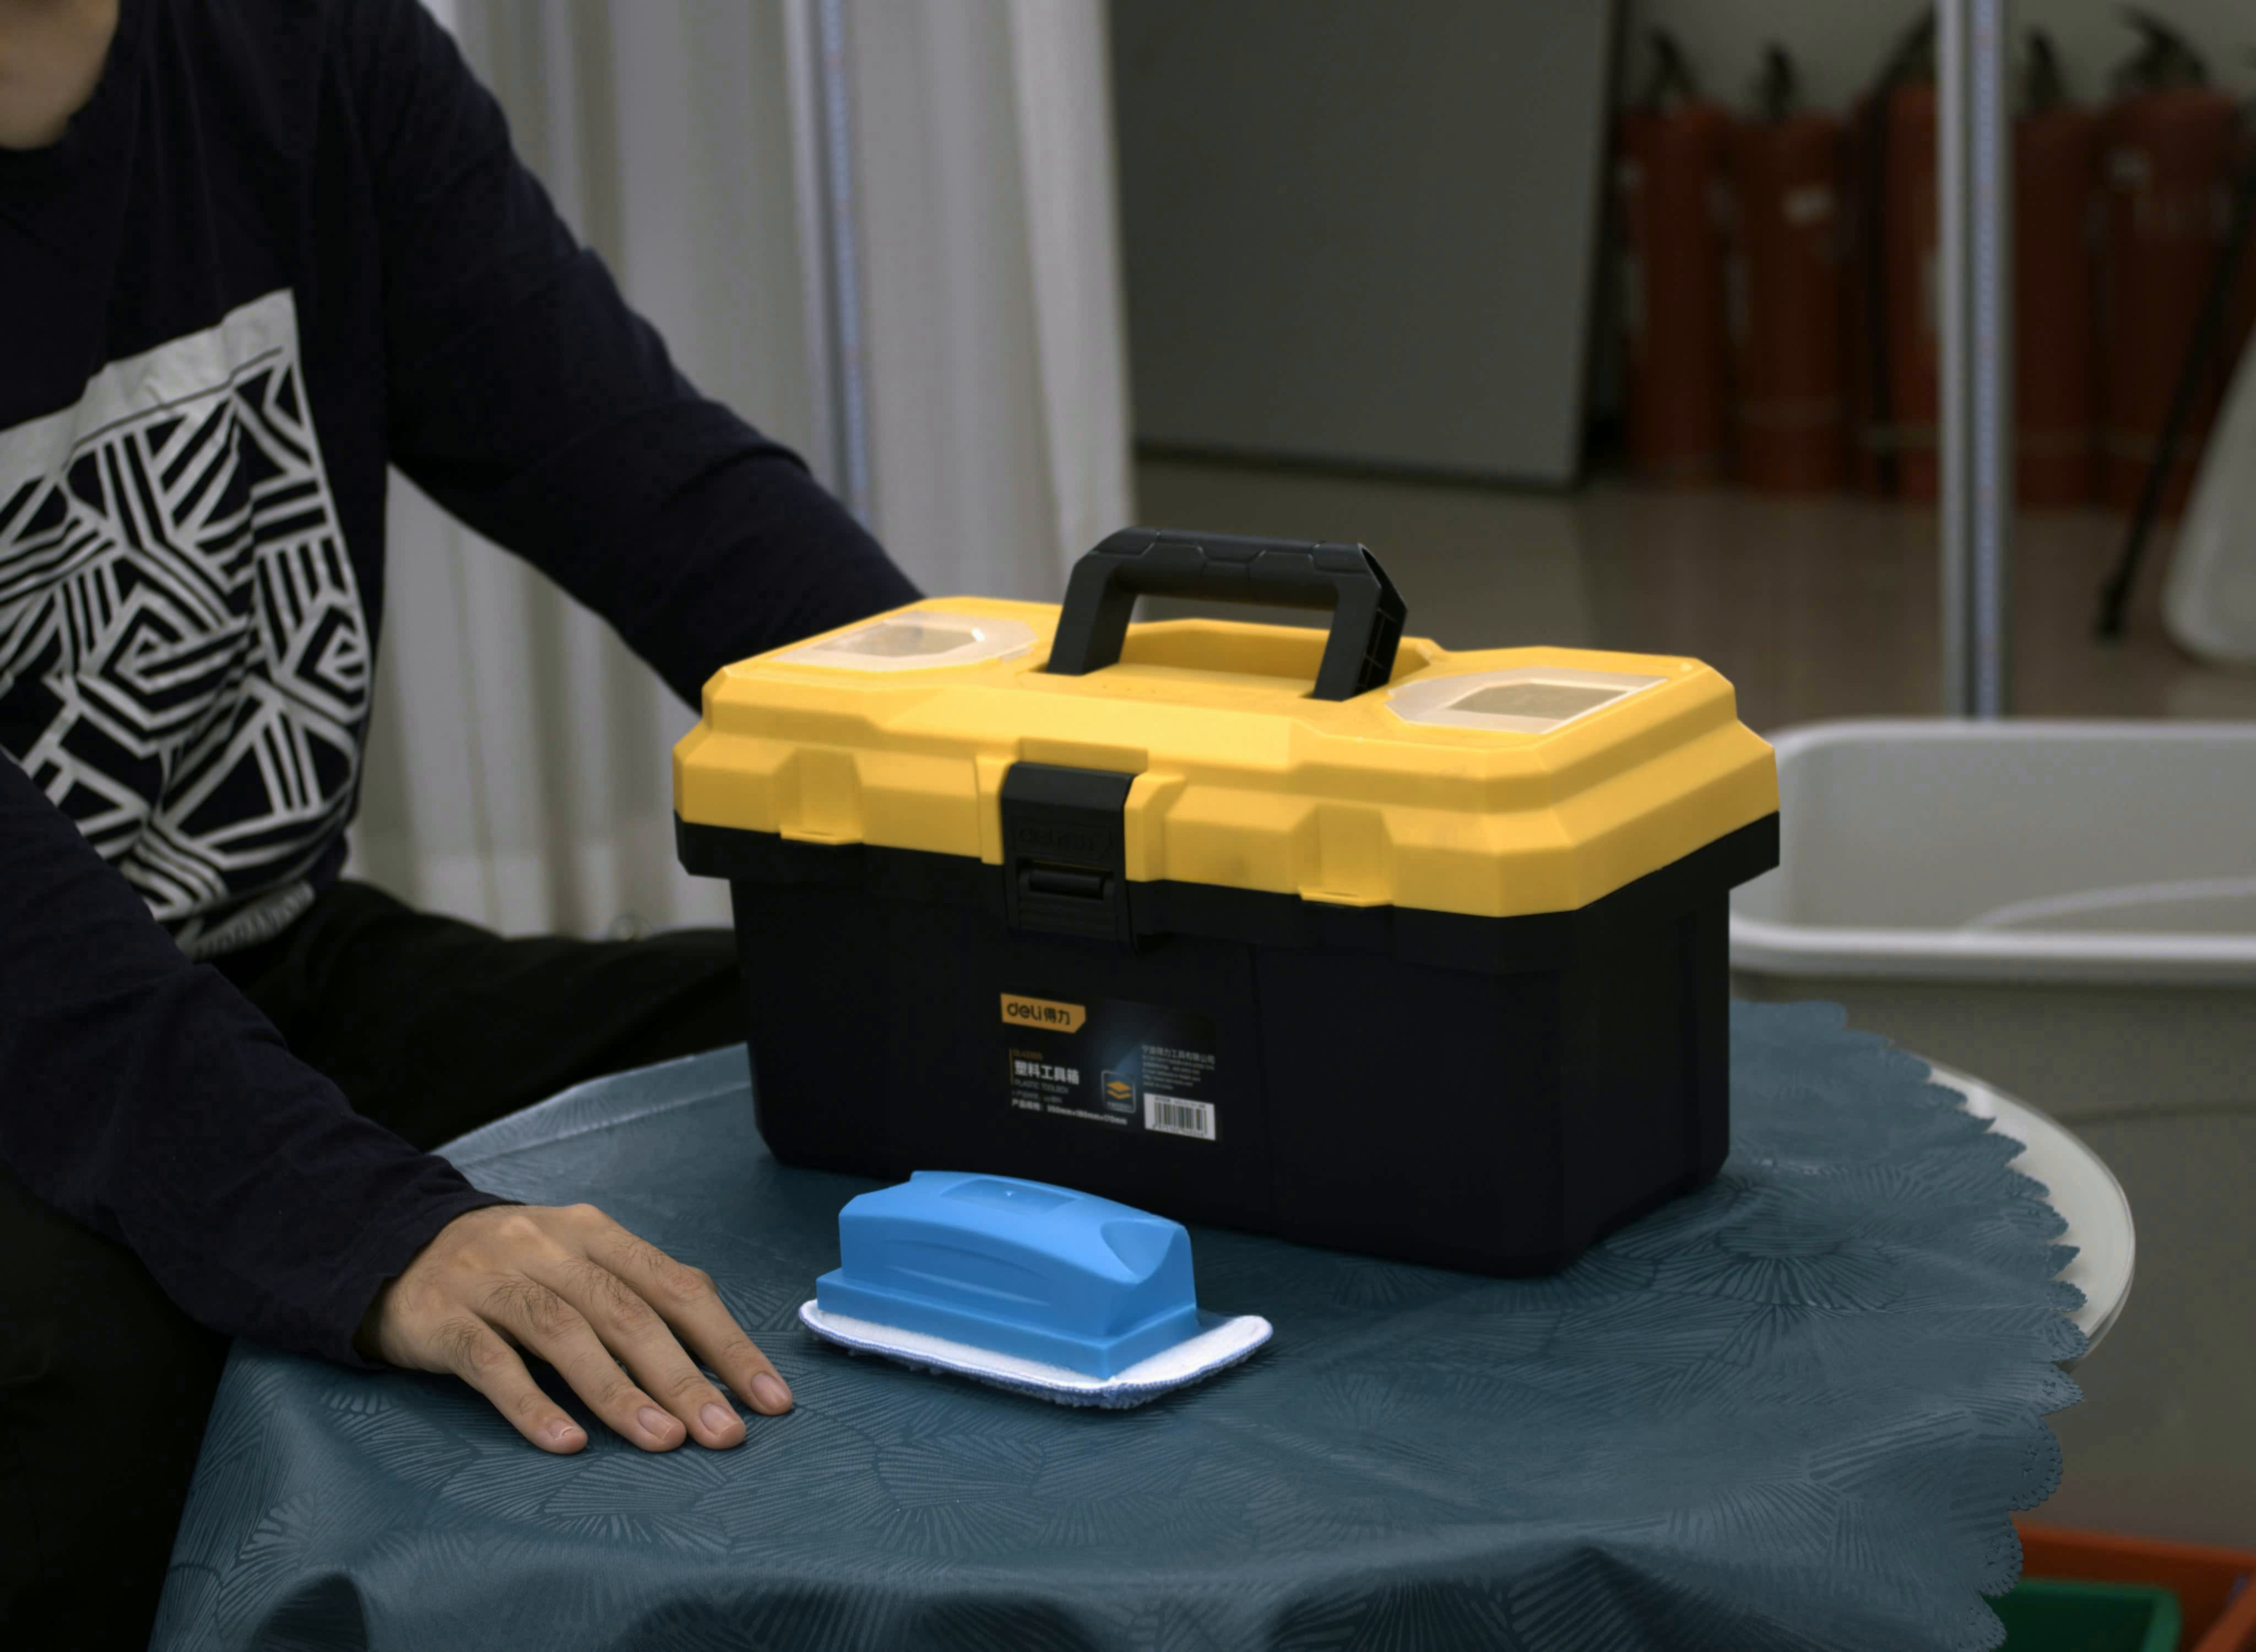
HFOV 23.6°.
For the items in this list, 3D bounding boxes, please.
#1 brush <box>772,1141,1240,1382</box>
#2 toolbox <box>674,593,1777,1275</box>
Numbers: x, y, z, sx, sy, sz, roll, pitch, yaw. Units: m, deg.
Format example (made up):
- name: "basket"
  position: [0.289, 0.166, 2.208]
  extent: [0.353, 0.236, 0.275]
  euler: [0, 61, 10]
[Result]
- name: "brush"
  position: [-0.037, 0.129, 1.625]
  extent: [0.145, 0.056, 0.082]
  euler: [12, 17, 43]
- name: "toolbox"
  position: [0.029, 0.030, 1.770]
  extent: [0.353, 0.175, 0.178]
  euler: [6, 16, 35]
